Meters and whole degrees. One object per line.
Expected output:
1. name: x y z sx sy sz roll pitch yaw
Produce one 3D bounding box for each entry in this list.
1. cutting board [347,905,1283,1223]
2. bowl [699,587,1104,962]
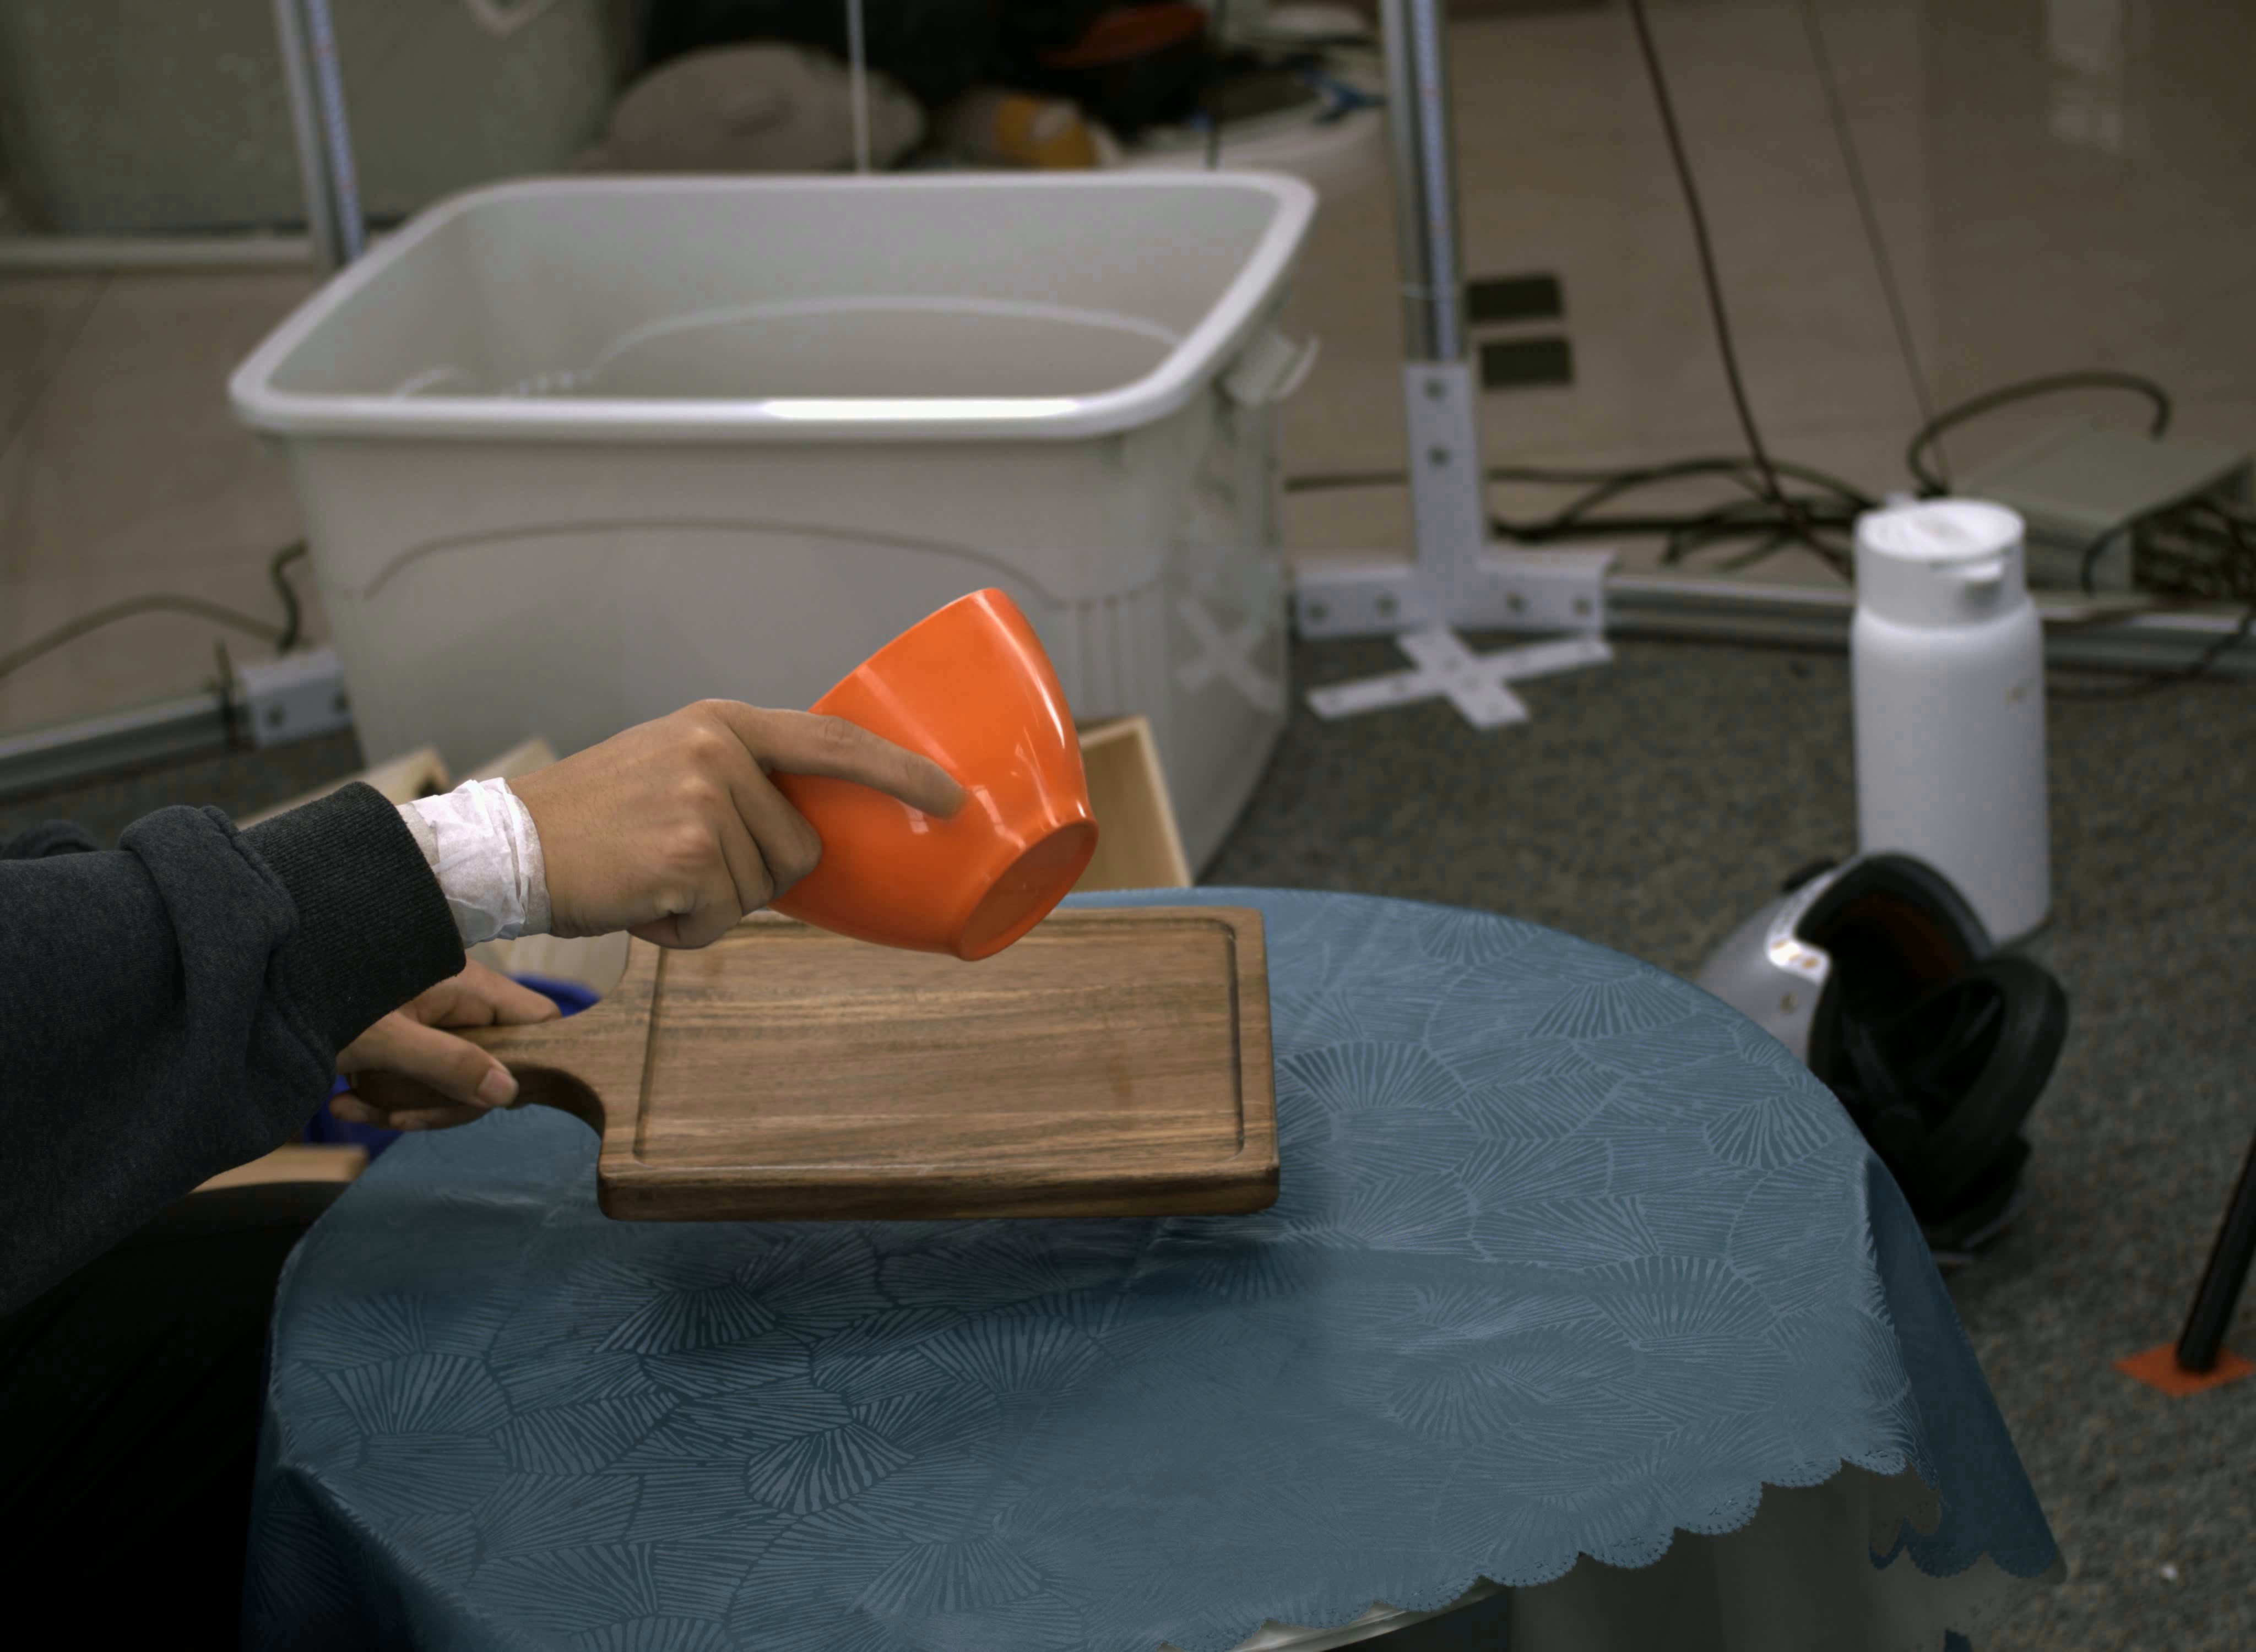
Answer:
1. cutting board: -0.120 0.088 2.151 0.351 0.023 0.198 -1 30 0
2. bowl: -0.067 -0.006 1.976 0.146 0.150 0.104 -29 67 -40
